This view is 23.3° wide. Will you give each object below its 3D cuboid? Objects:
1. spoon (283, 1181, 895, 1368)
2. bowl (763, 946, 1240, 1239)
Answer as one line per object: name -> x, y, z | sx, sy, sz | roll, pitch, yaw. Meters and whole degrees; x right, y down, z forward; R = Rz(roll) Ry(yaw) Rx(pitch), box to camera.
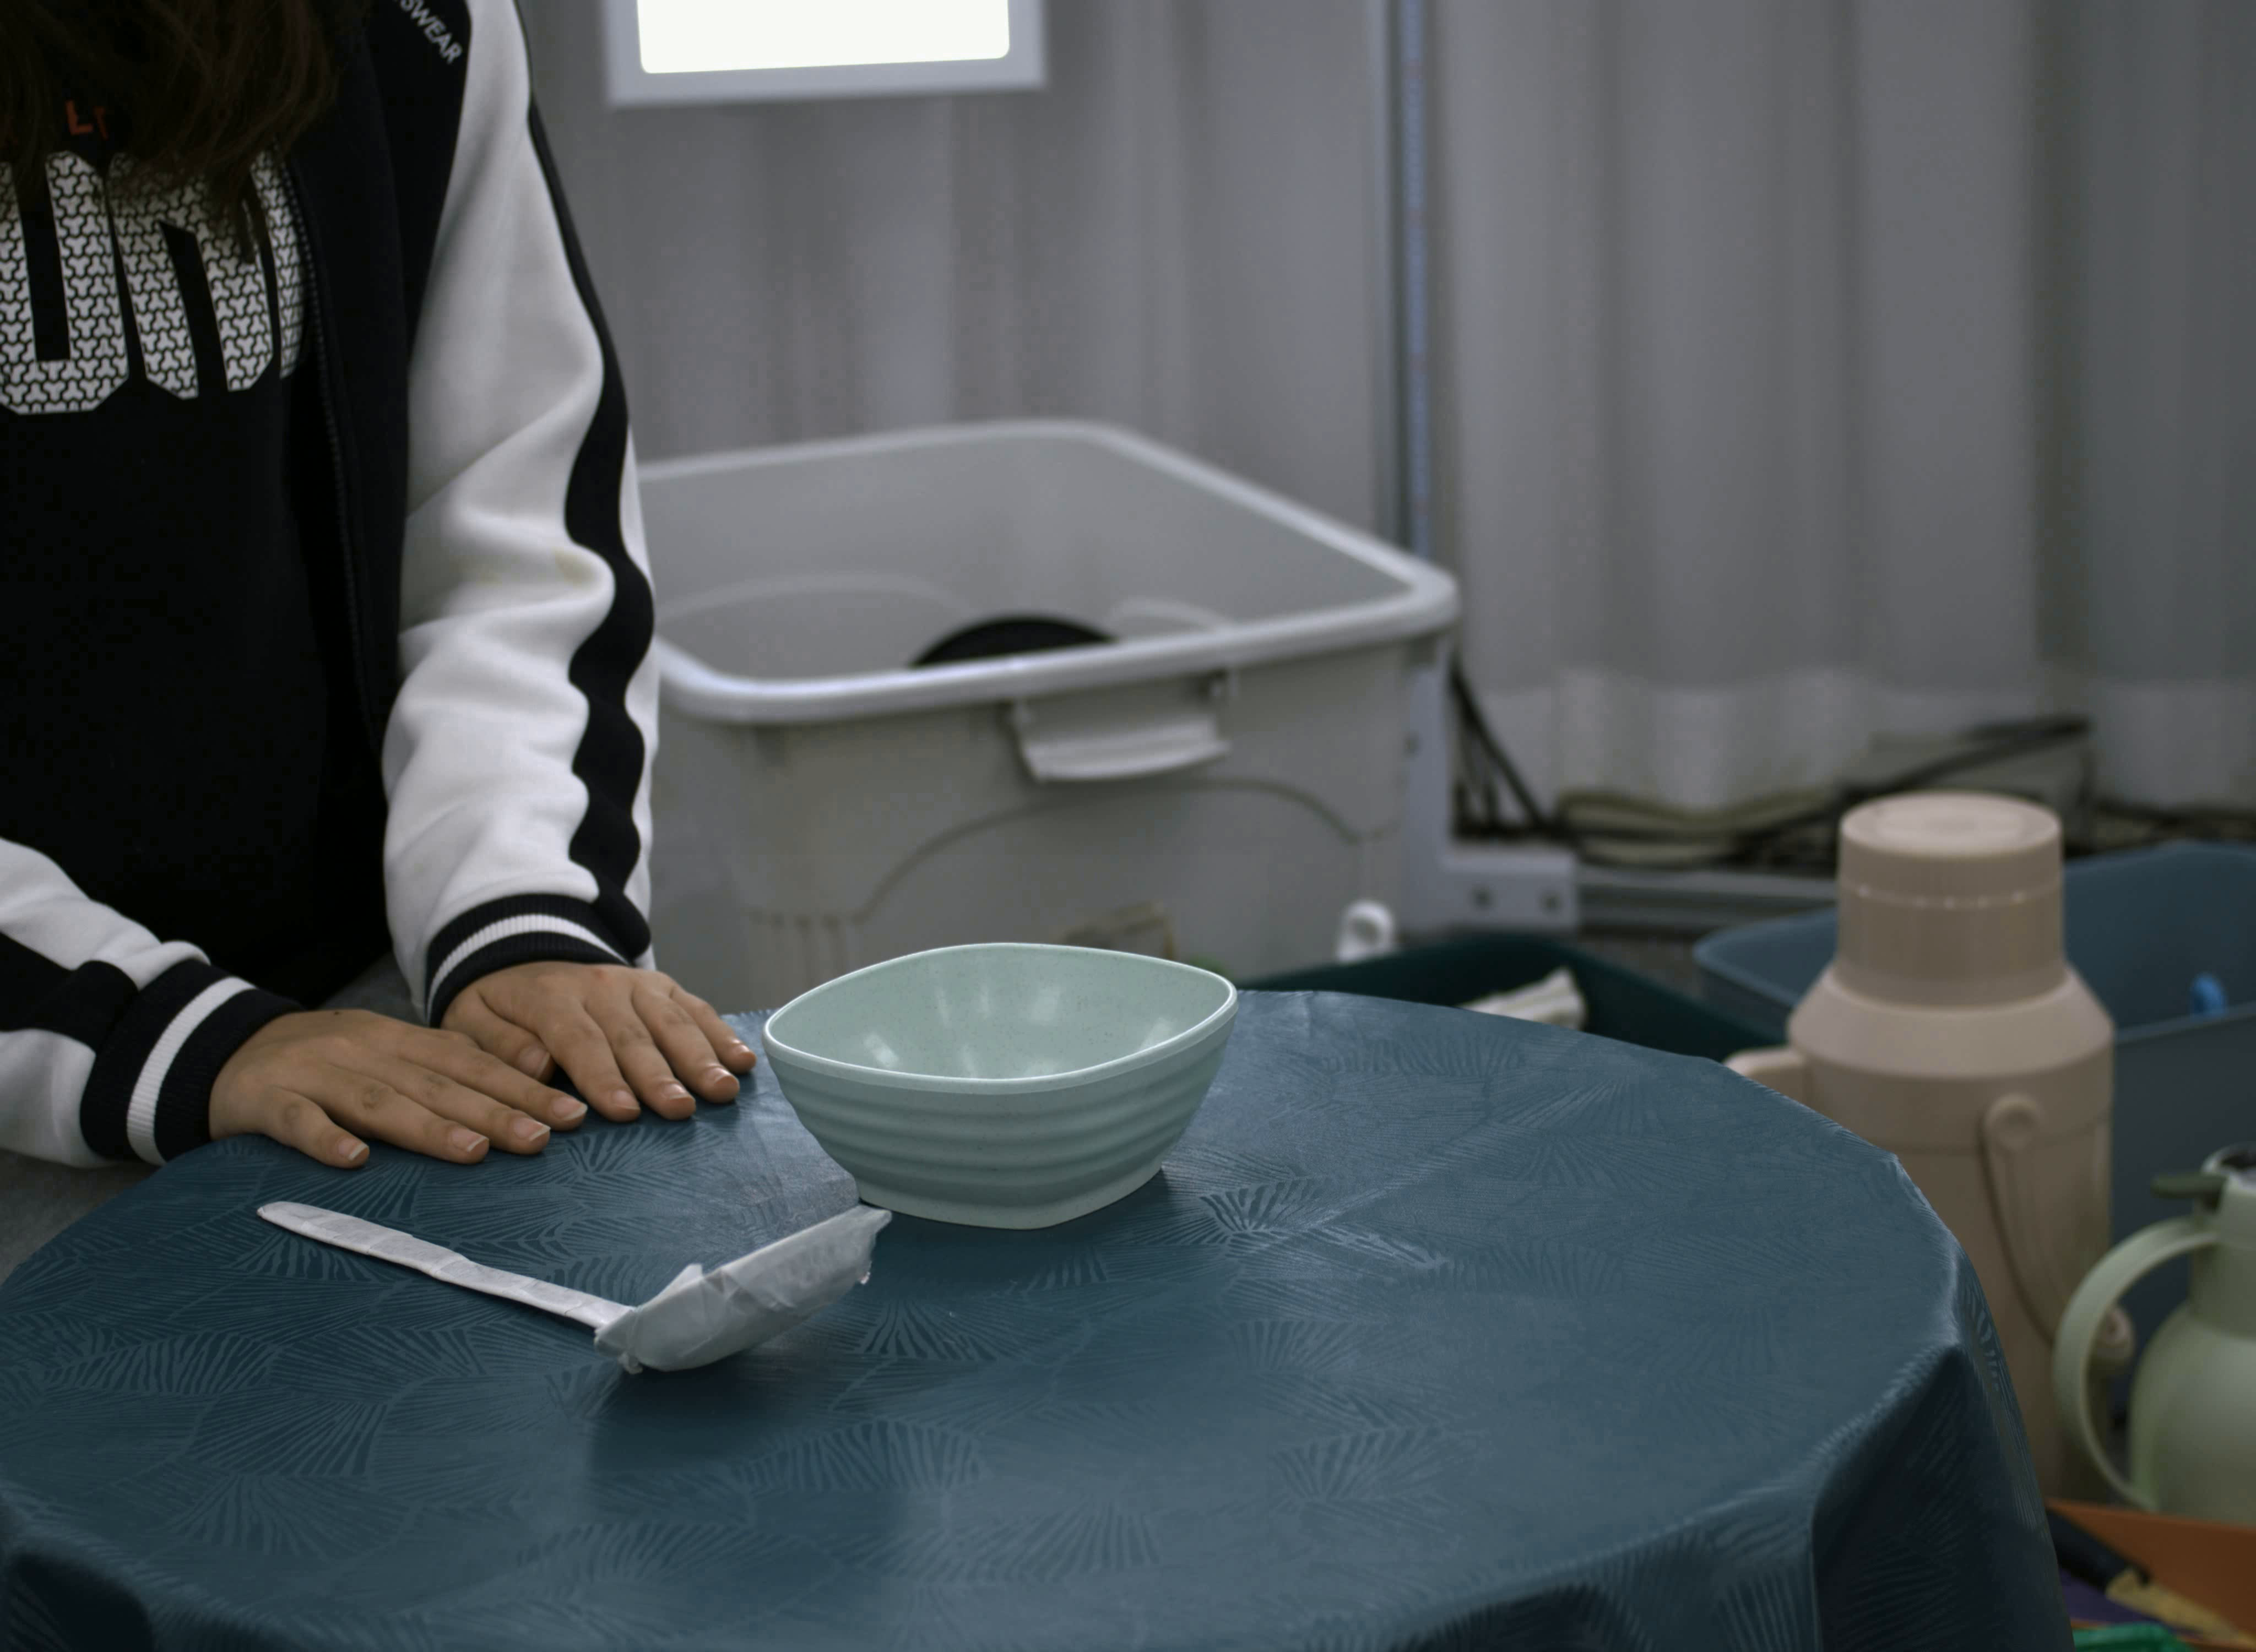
spoon -> -0.172, 0.114, 1.641 | 0.100, 0.059, 0.279 | -8, 15, -39
bowl -> -0.038, 0.087, 1.724 | 0.151, 0.058, 0.152 | -3, 15, 1
